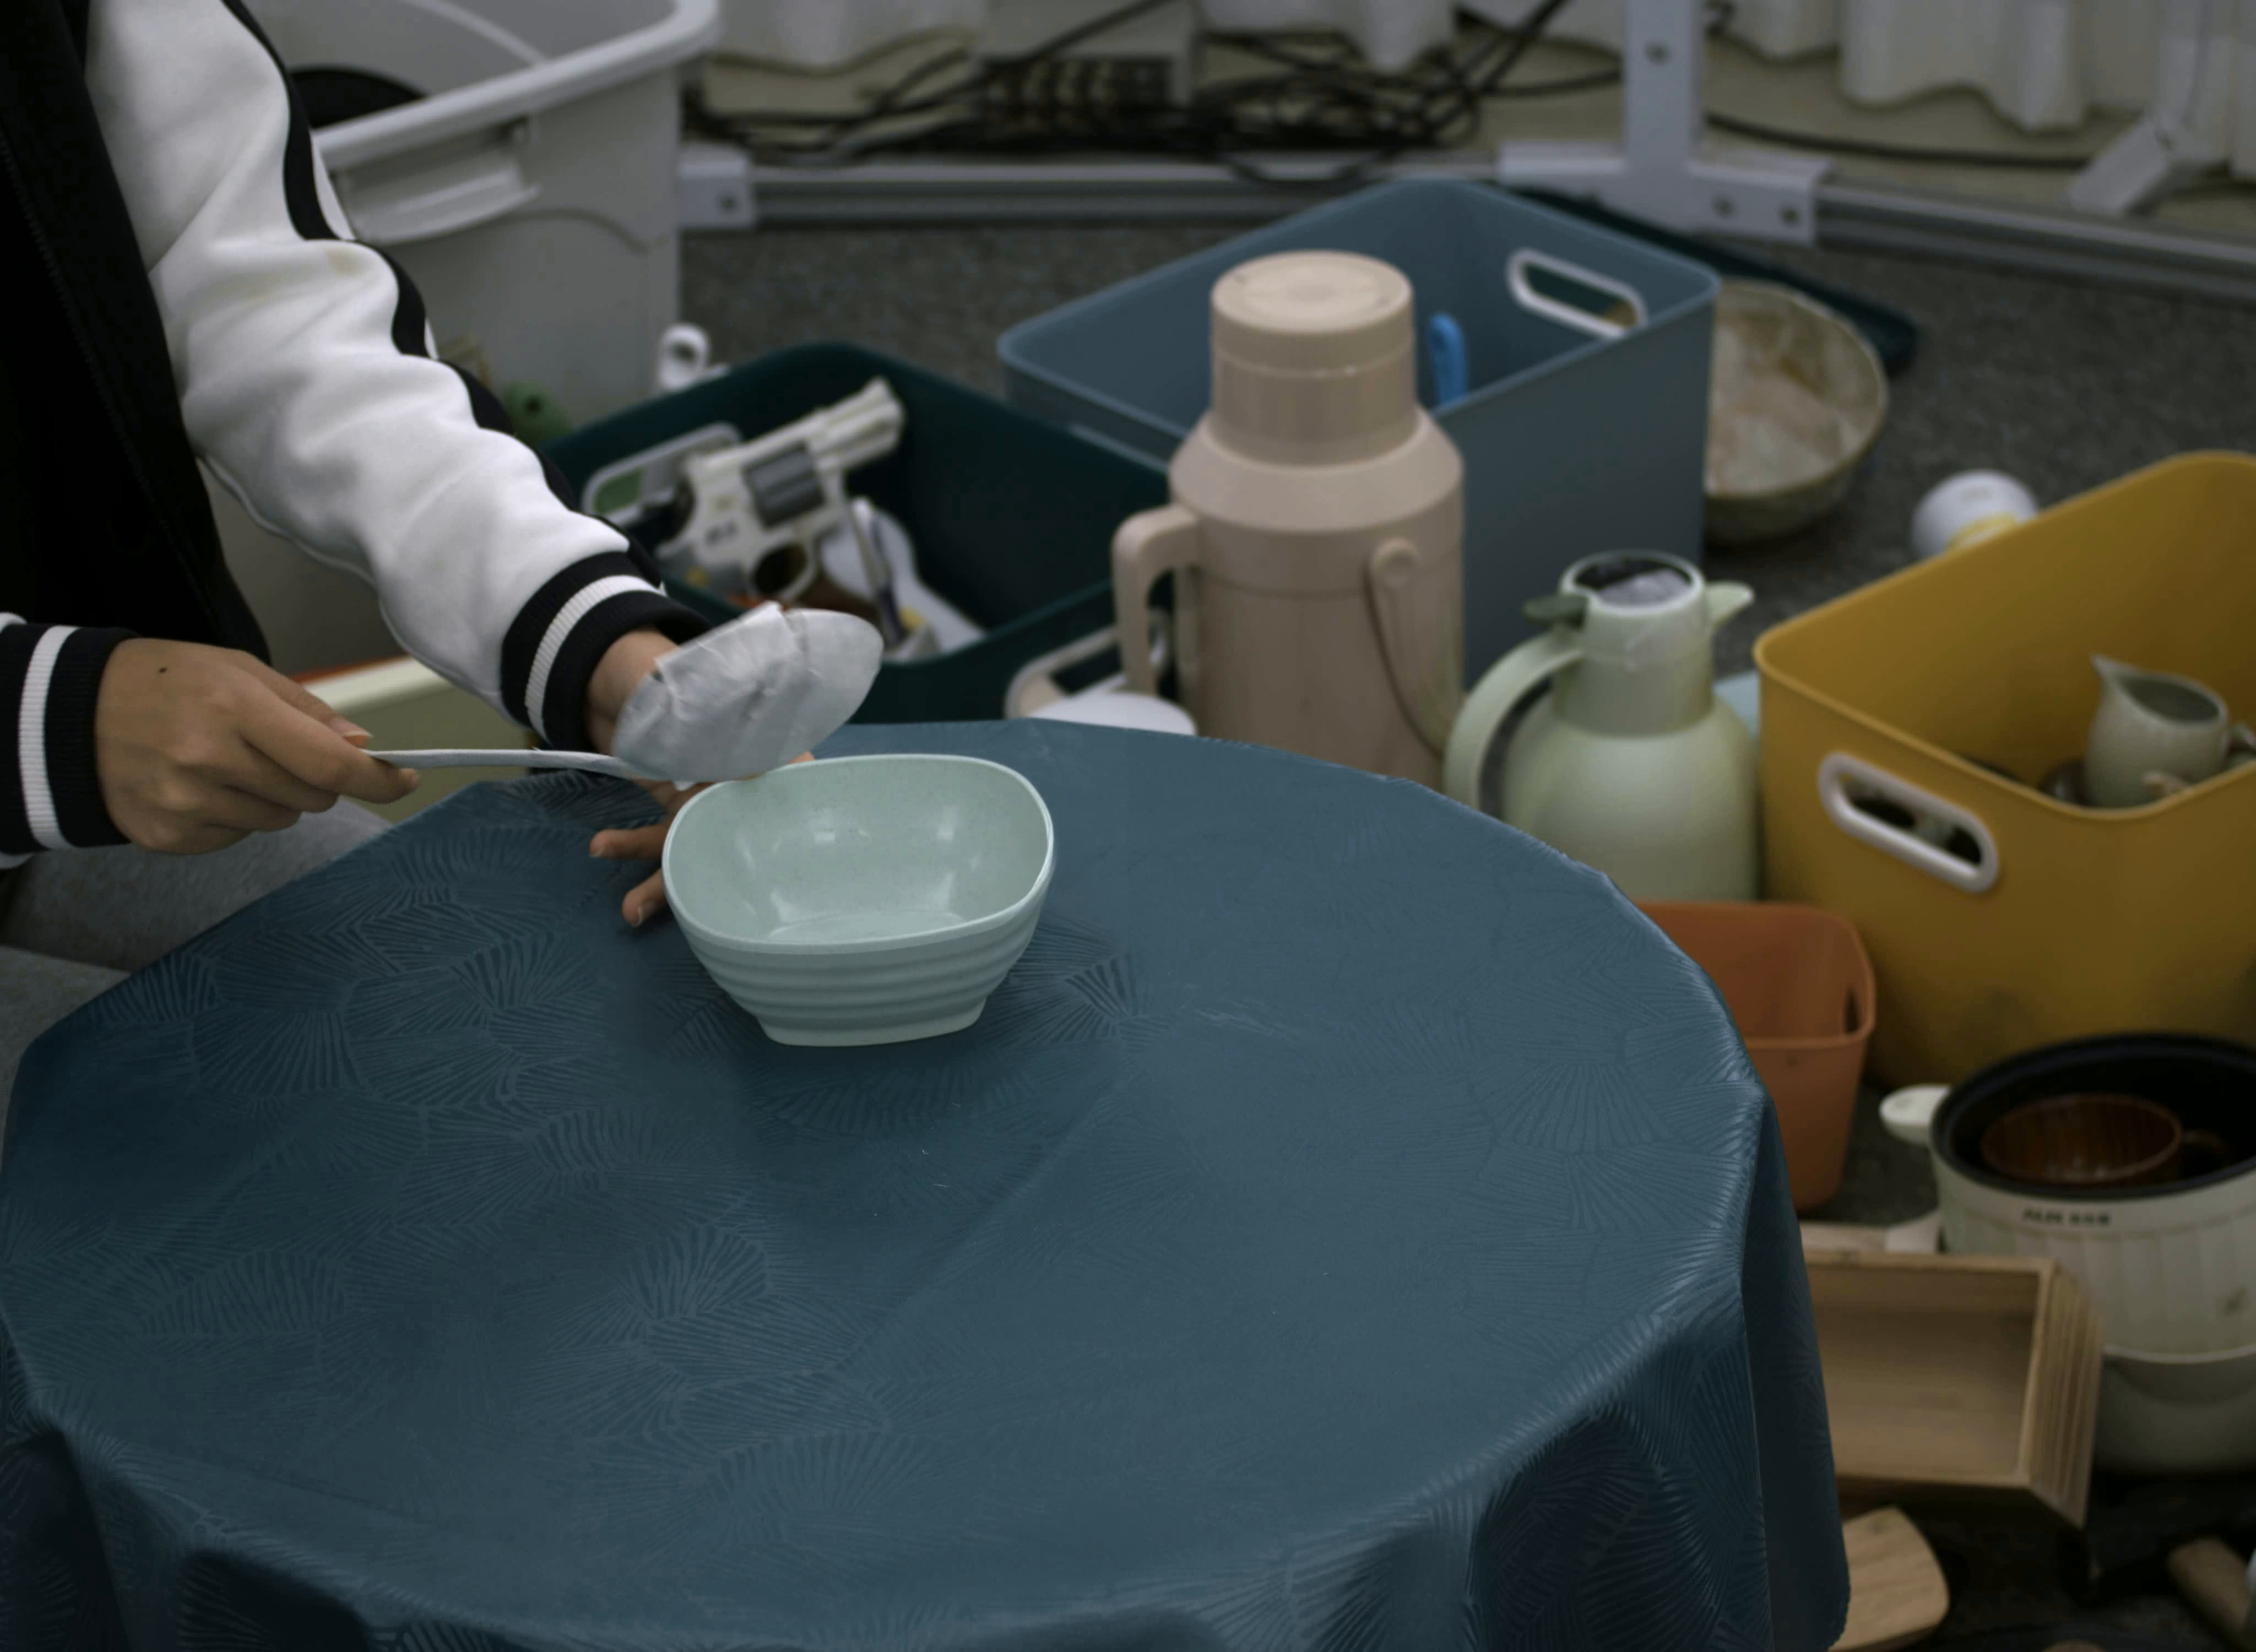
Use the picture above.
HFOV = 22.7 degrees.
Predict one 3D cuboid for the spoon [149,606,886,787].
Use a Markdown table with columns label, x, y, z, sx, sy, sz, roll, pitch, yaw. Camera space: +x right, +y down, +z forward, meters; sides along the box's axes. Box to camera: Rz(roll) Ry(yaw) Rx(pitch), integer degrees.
| label | x | y | z | sx | sy | sz | roll | pitch | yaw |
| --- | --- | --- | --- | --- | --- | --- | --- | --- | --- |
| spoon | -0.212 | -0.044 | 1.927 | 0.275 | 0.060 | 0.100 | 1 | -20 | 26 |

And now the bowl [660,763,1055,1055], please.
| label | x | y | z | sx | sy | sz | roll | pitch | yaw |
| --- | --- | --- | --- | --- | --- | --- | --- | --- | --- |
| bowl | -0.094 | 0.035 | 1.982 | 0.151 | 0.058 | 0.154 | -2 | 27 | 2 |
